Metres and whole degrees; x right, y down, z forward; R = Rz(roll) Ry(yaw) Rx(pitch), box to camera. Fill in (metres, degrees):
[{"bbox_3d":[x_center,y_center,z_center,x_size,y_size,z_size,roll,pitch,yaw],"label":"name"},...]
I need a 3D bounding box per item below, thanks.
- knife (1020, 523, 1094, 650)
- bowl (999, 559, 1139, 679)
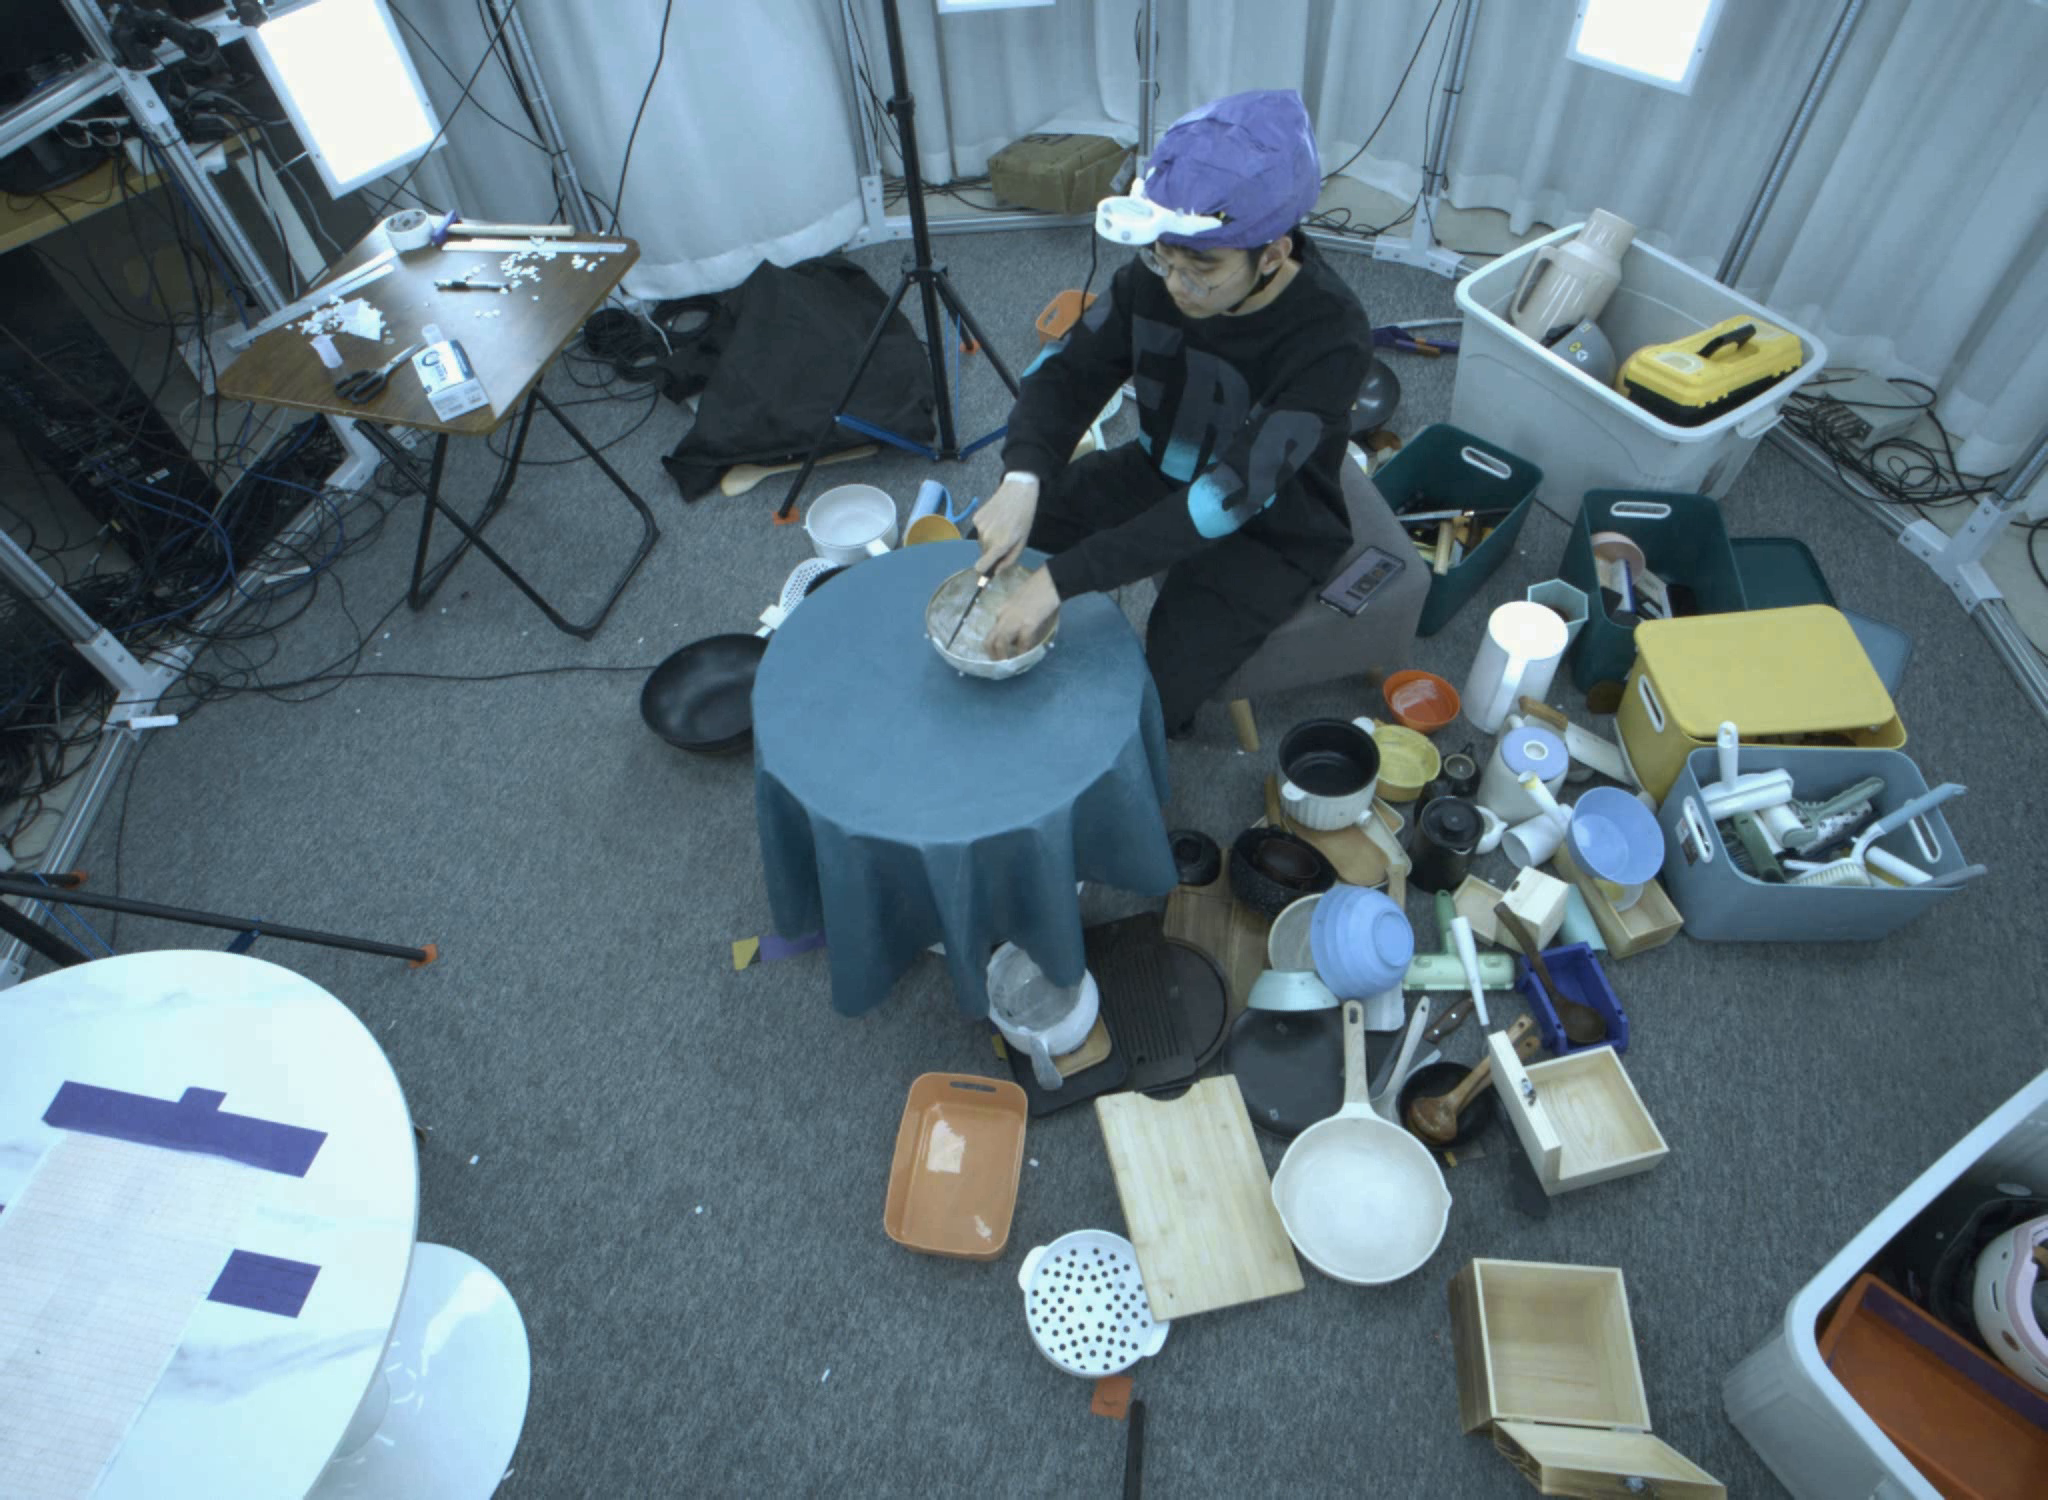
[{"bbox_3d":[0.047,-0.245,1.860,0.017,0.026,0.225,29,88,19],"label":"knife"},{"bbox_3d":[0.070,-0.183,1.854,0.214,0.096,0.212,-2,55,4],"label":"bowl"}]
